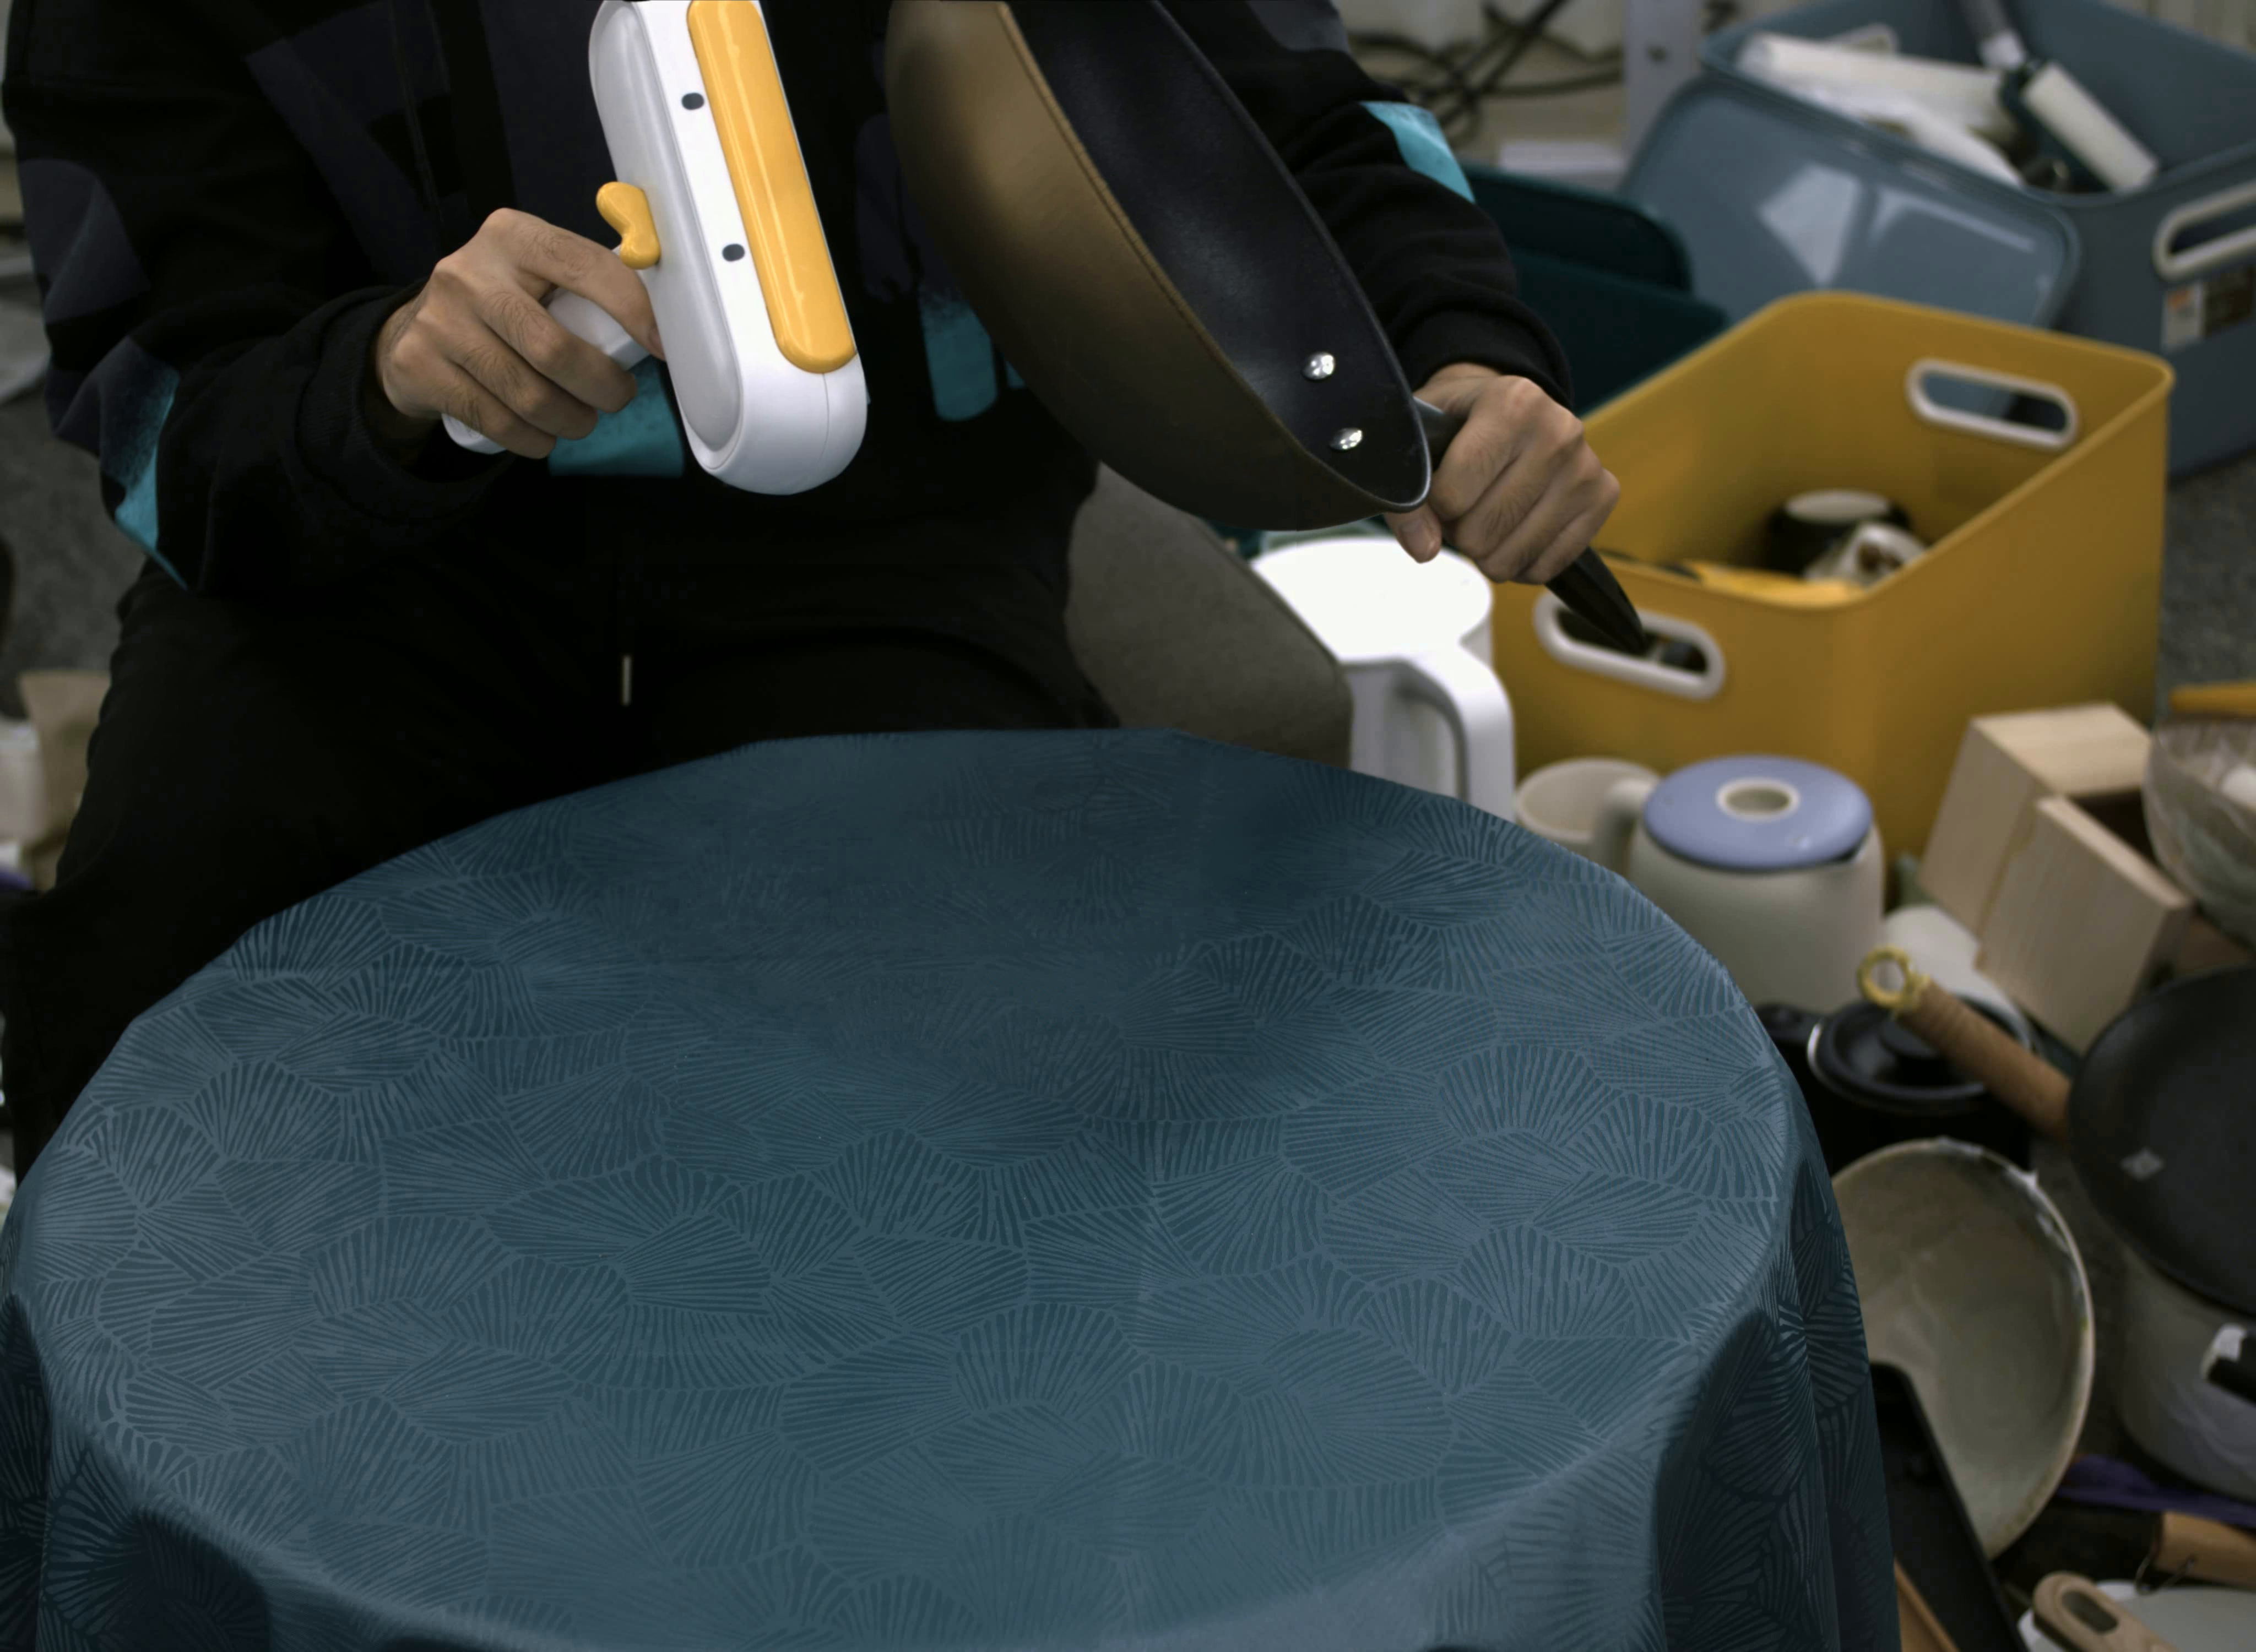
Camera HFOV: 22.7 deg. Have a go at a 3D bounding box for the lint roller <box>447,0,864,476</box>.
[{"bbox_3d":[-0.173,-0.185,1.956,0.074,0.189,0.195,-8,67,-37],"label":"lint roller"}]

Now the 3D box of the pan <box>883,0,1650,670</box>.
[{"bbox_3d":[0.046,-0.168,2.072,0.086,0.460,0.293,-34,45,16],"label":"pan"}]
